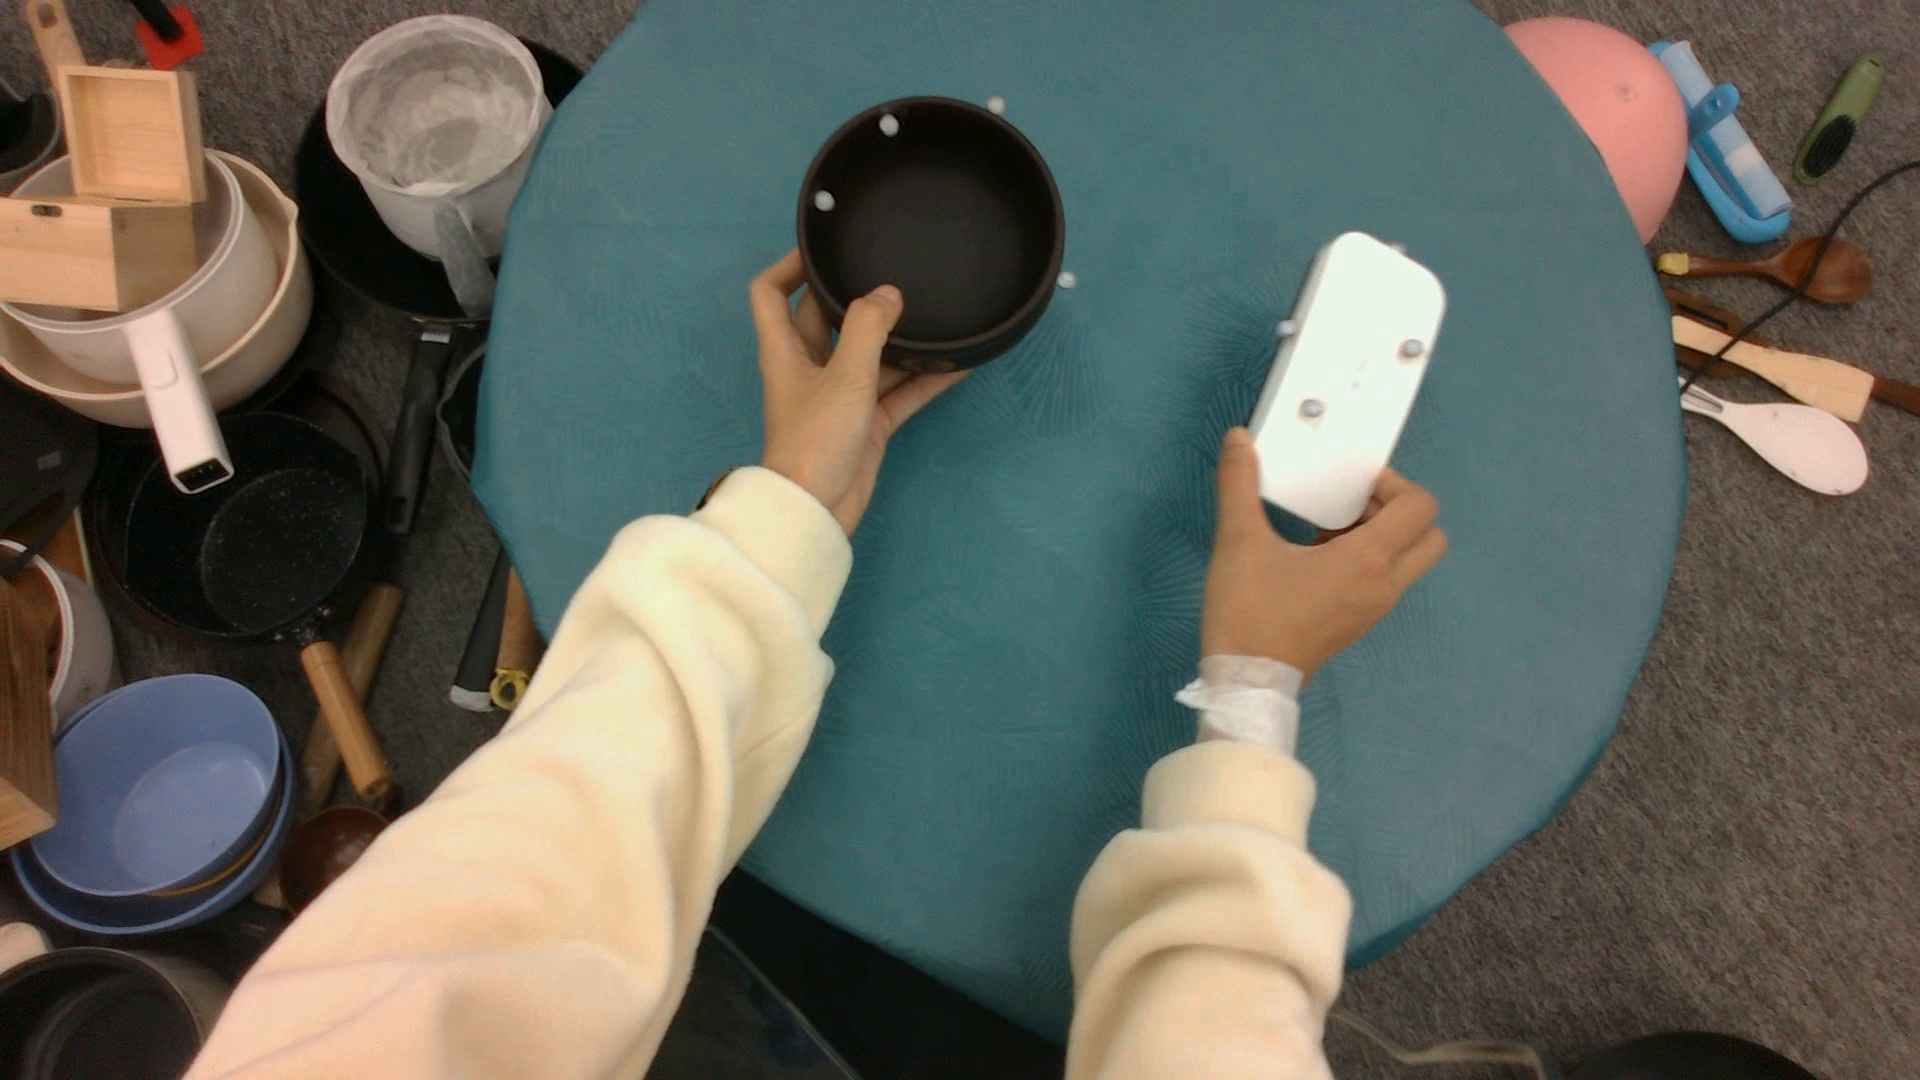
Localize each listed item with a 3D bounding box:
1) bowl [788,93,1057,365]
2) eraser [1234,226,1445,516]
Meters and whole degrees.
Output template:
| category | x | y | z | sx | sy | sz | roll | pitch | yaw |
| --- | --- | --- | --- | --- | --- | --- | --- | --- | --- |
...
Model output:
| category | x | y | z | sx | sy | sz | roll | pitch | yaw |
| --- | --- | --- | --- | --- | --- | --- | --- | --- | --- |
| bowl | -0.016 | -0.134 | 0.624 | 0.118 | 0.070 | 0.118 | 0 | 79 | 1 |
| eraser | 0.175 | -0.078 | 0.636 | 0.063 | 0.034 | 0.131 | 27 | 82 | -12 |
